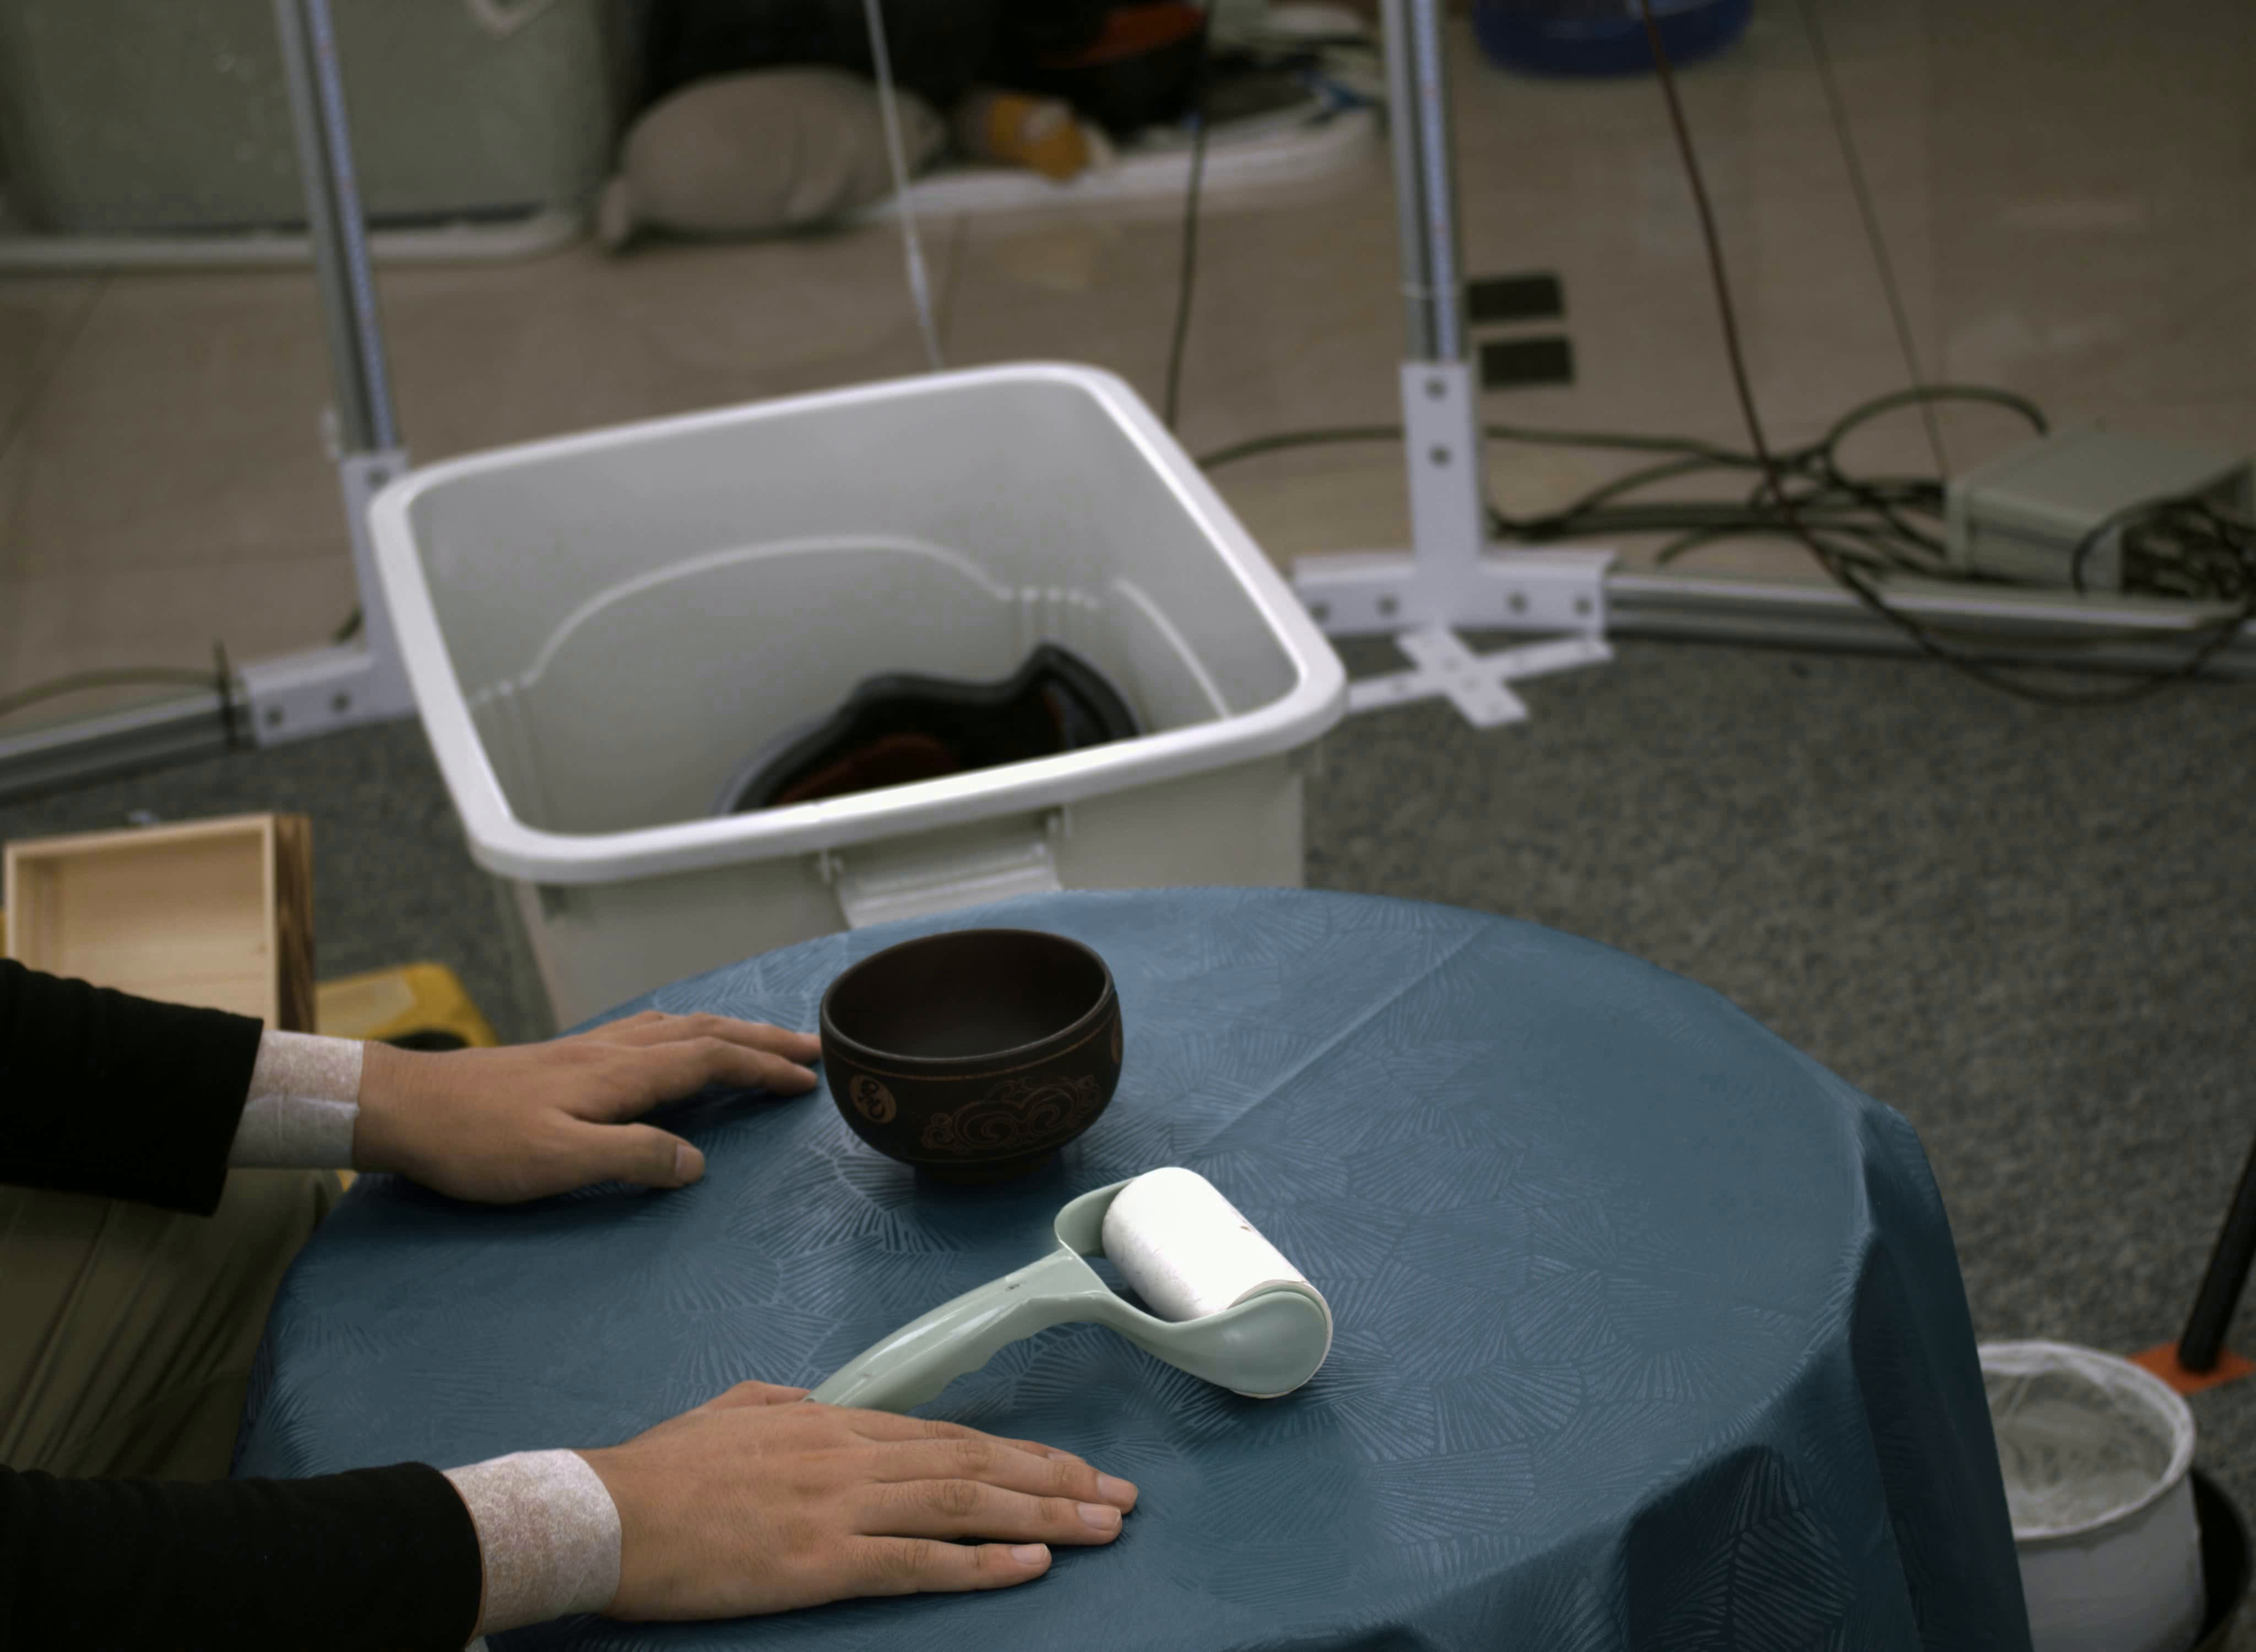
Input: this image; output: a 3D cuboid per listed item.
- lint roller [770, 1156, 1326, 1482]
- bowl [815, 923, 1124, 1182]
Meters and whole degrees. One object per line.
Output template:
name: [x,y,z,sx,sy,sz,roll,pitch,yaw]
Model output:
lint roller: [-0.038,0.180,2.017,0.197,0.049,0.115,-17,28,-18]
bowl: [-0.059,0.093,2.175,0.118,0.071,0.116,-6,26,3]
